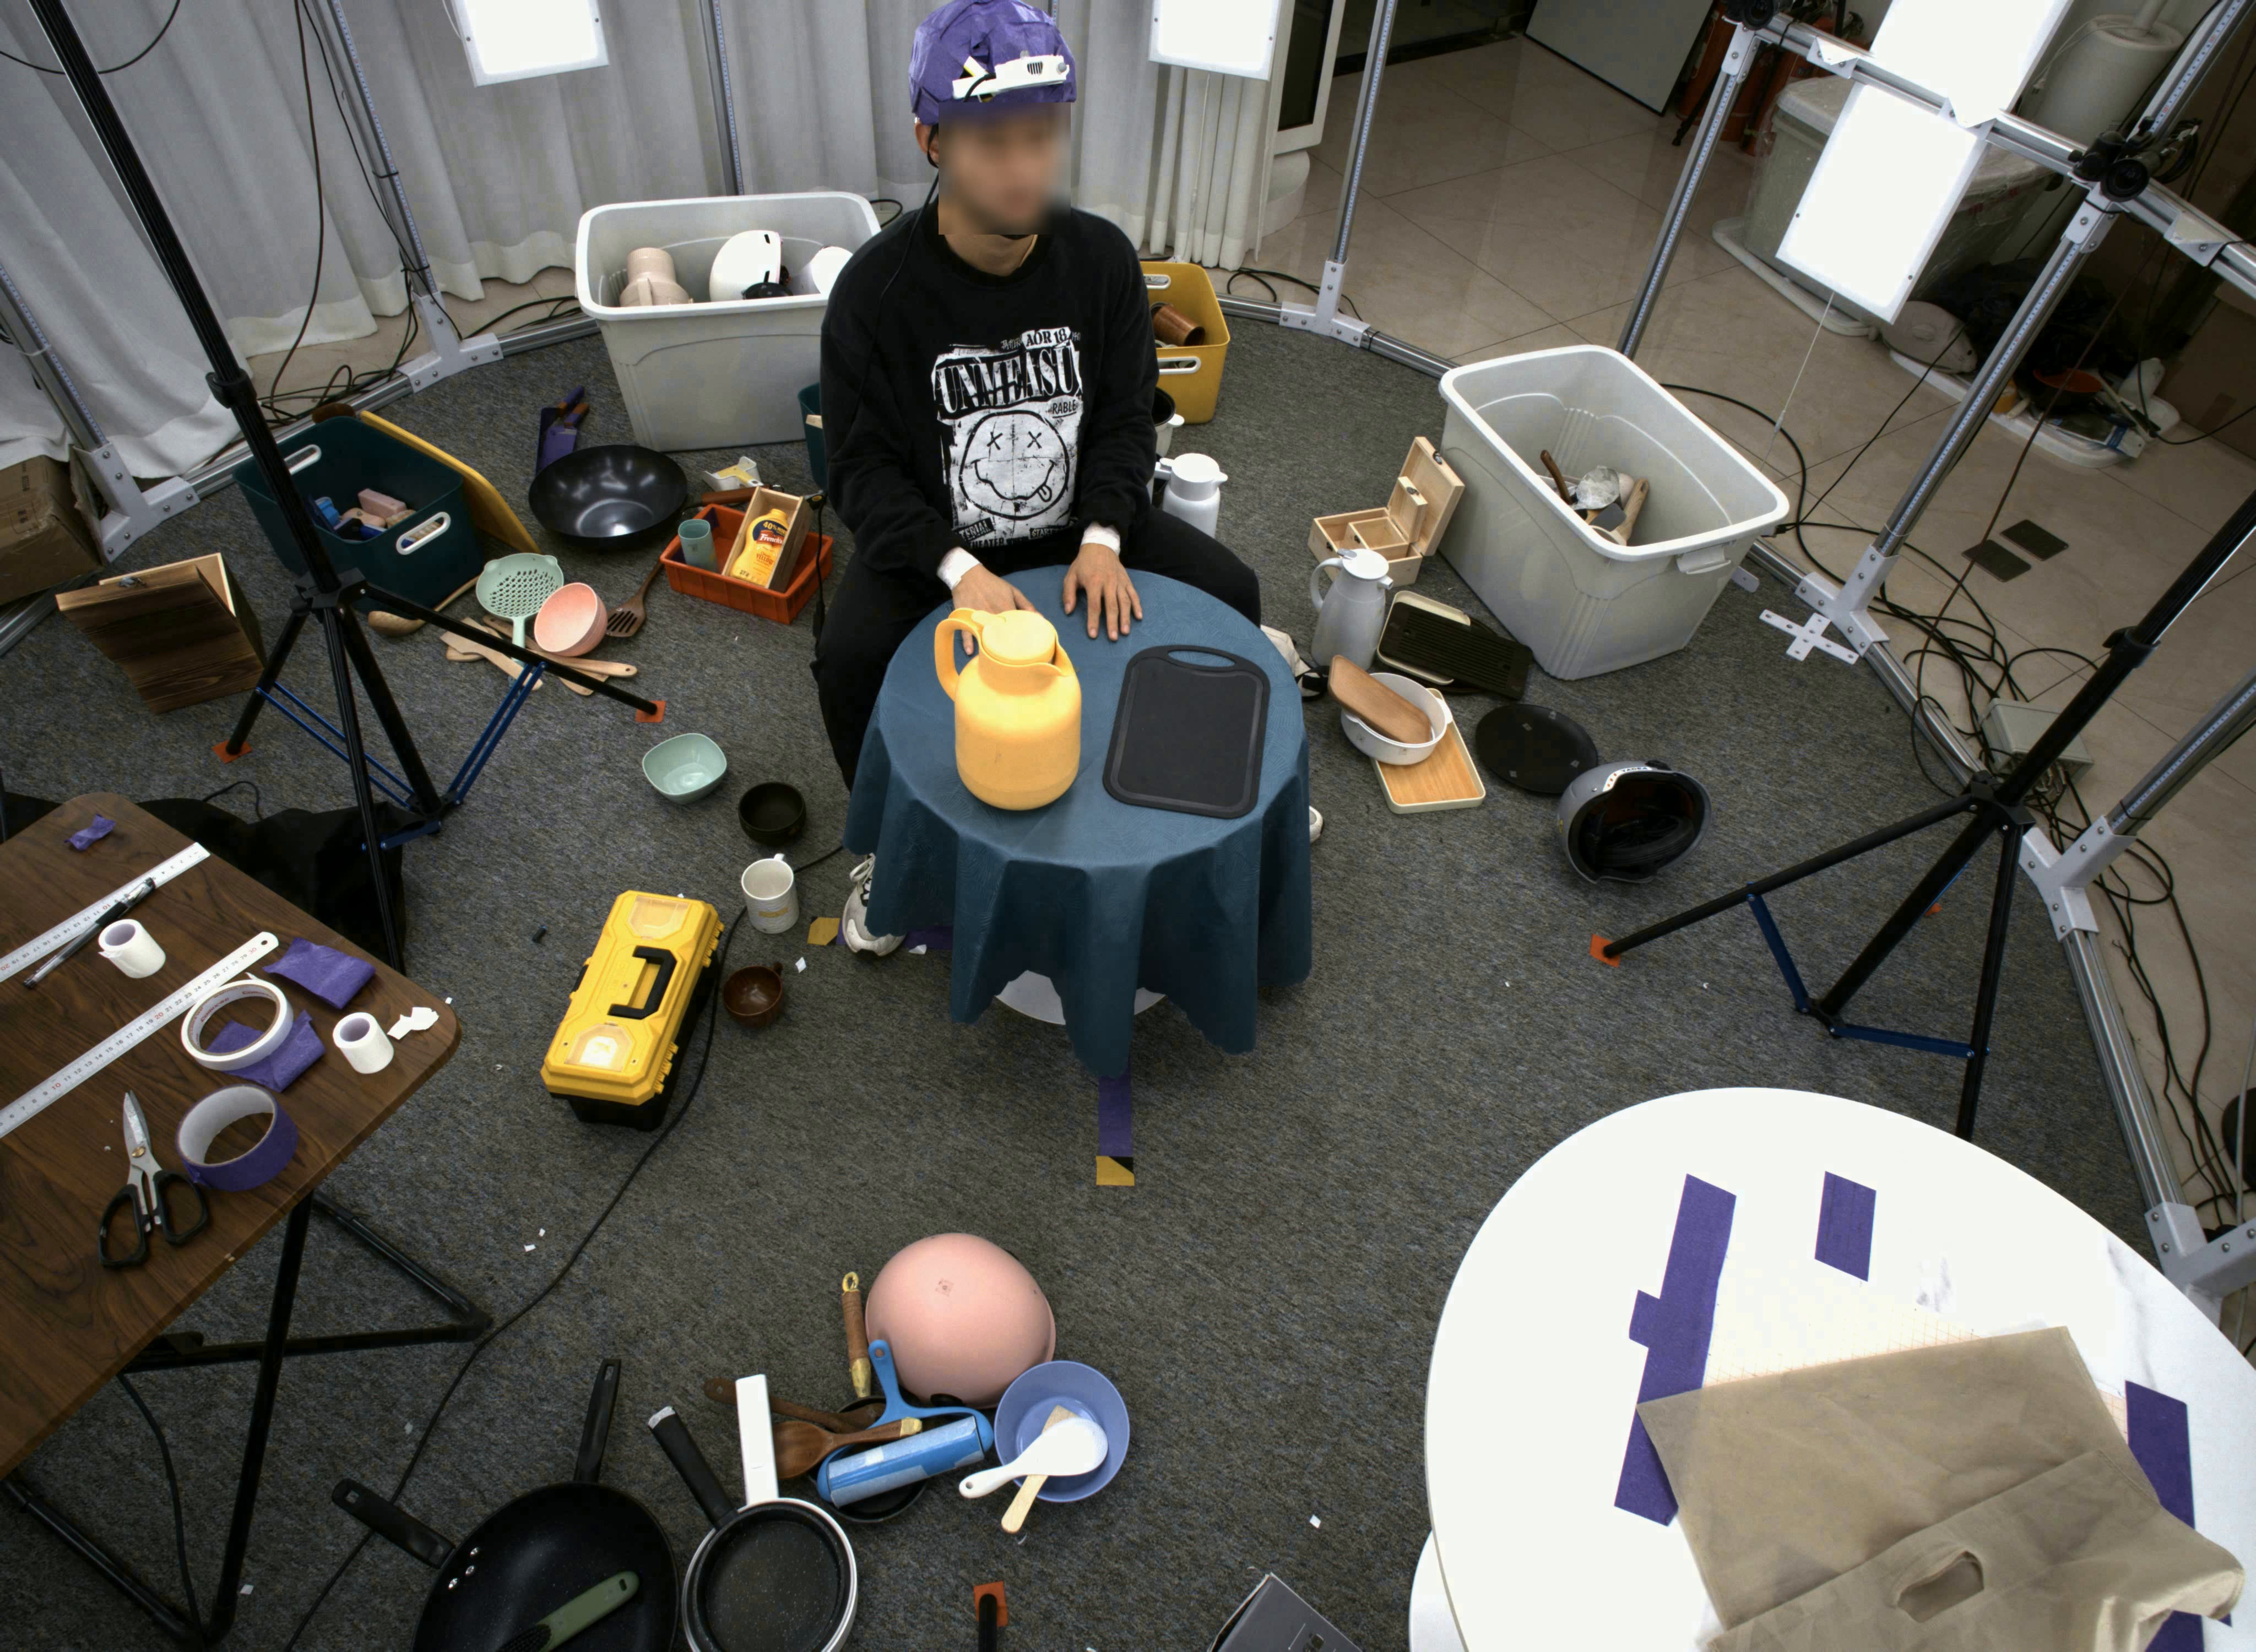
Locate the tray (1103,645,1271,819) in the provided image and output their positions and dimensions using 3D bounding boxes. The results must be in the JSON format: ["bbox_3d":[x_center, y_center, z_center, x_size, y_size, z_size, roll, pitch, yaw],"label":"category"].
[{"bbox_3d":[0.087,-0.144,1.795,0.211,0.009,0.333,9,49,4],"label":"tray"}]

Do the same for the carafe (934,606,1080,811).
[{"bbox_3d":[-0.157,-0.161,1.630,0.204,0.254,0.165,31,52,19],"label":"carafe"}]
